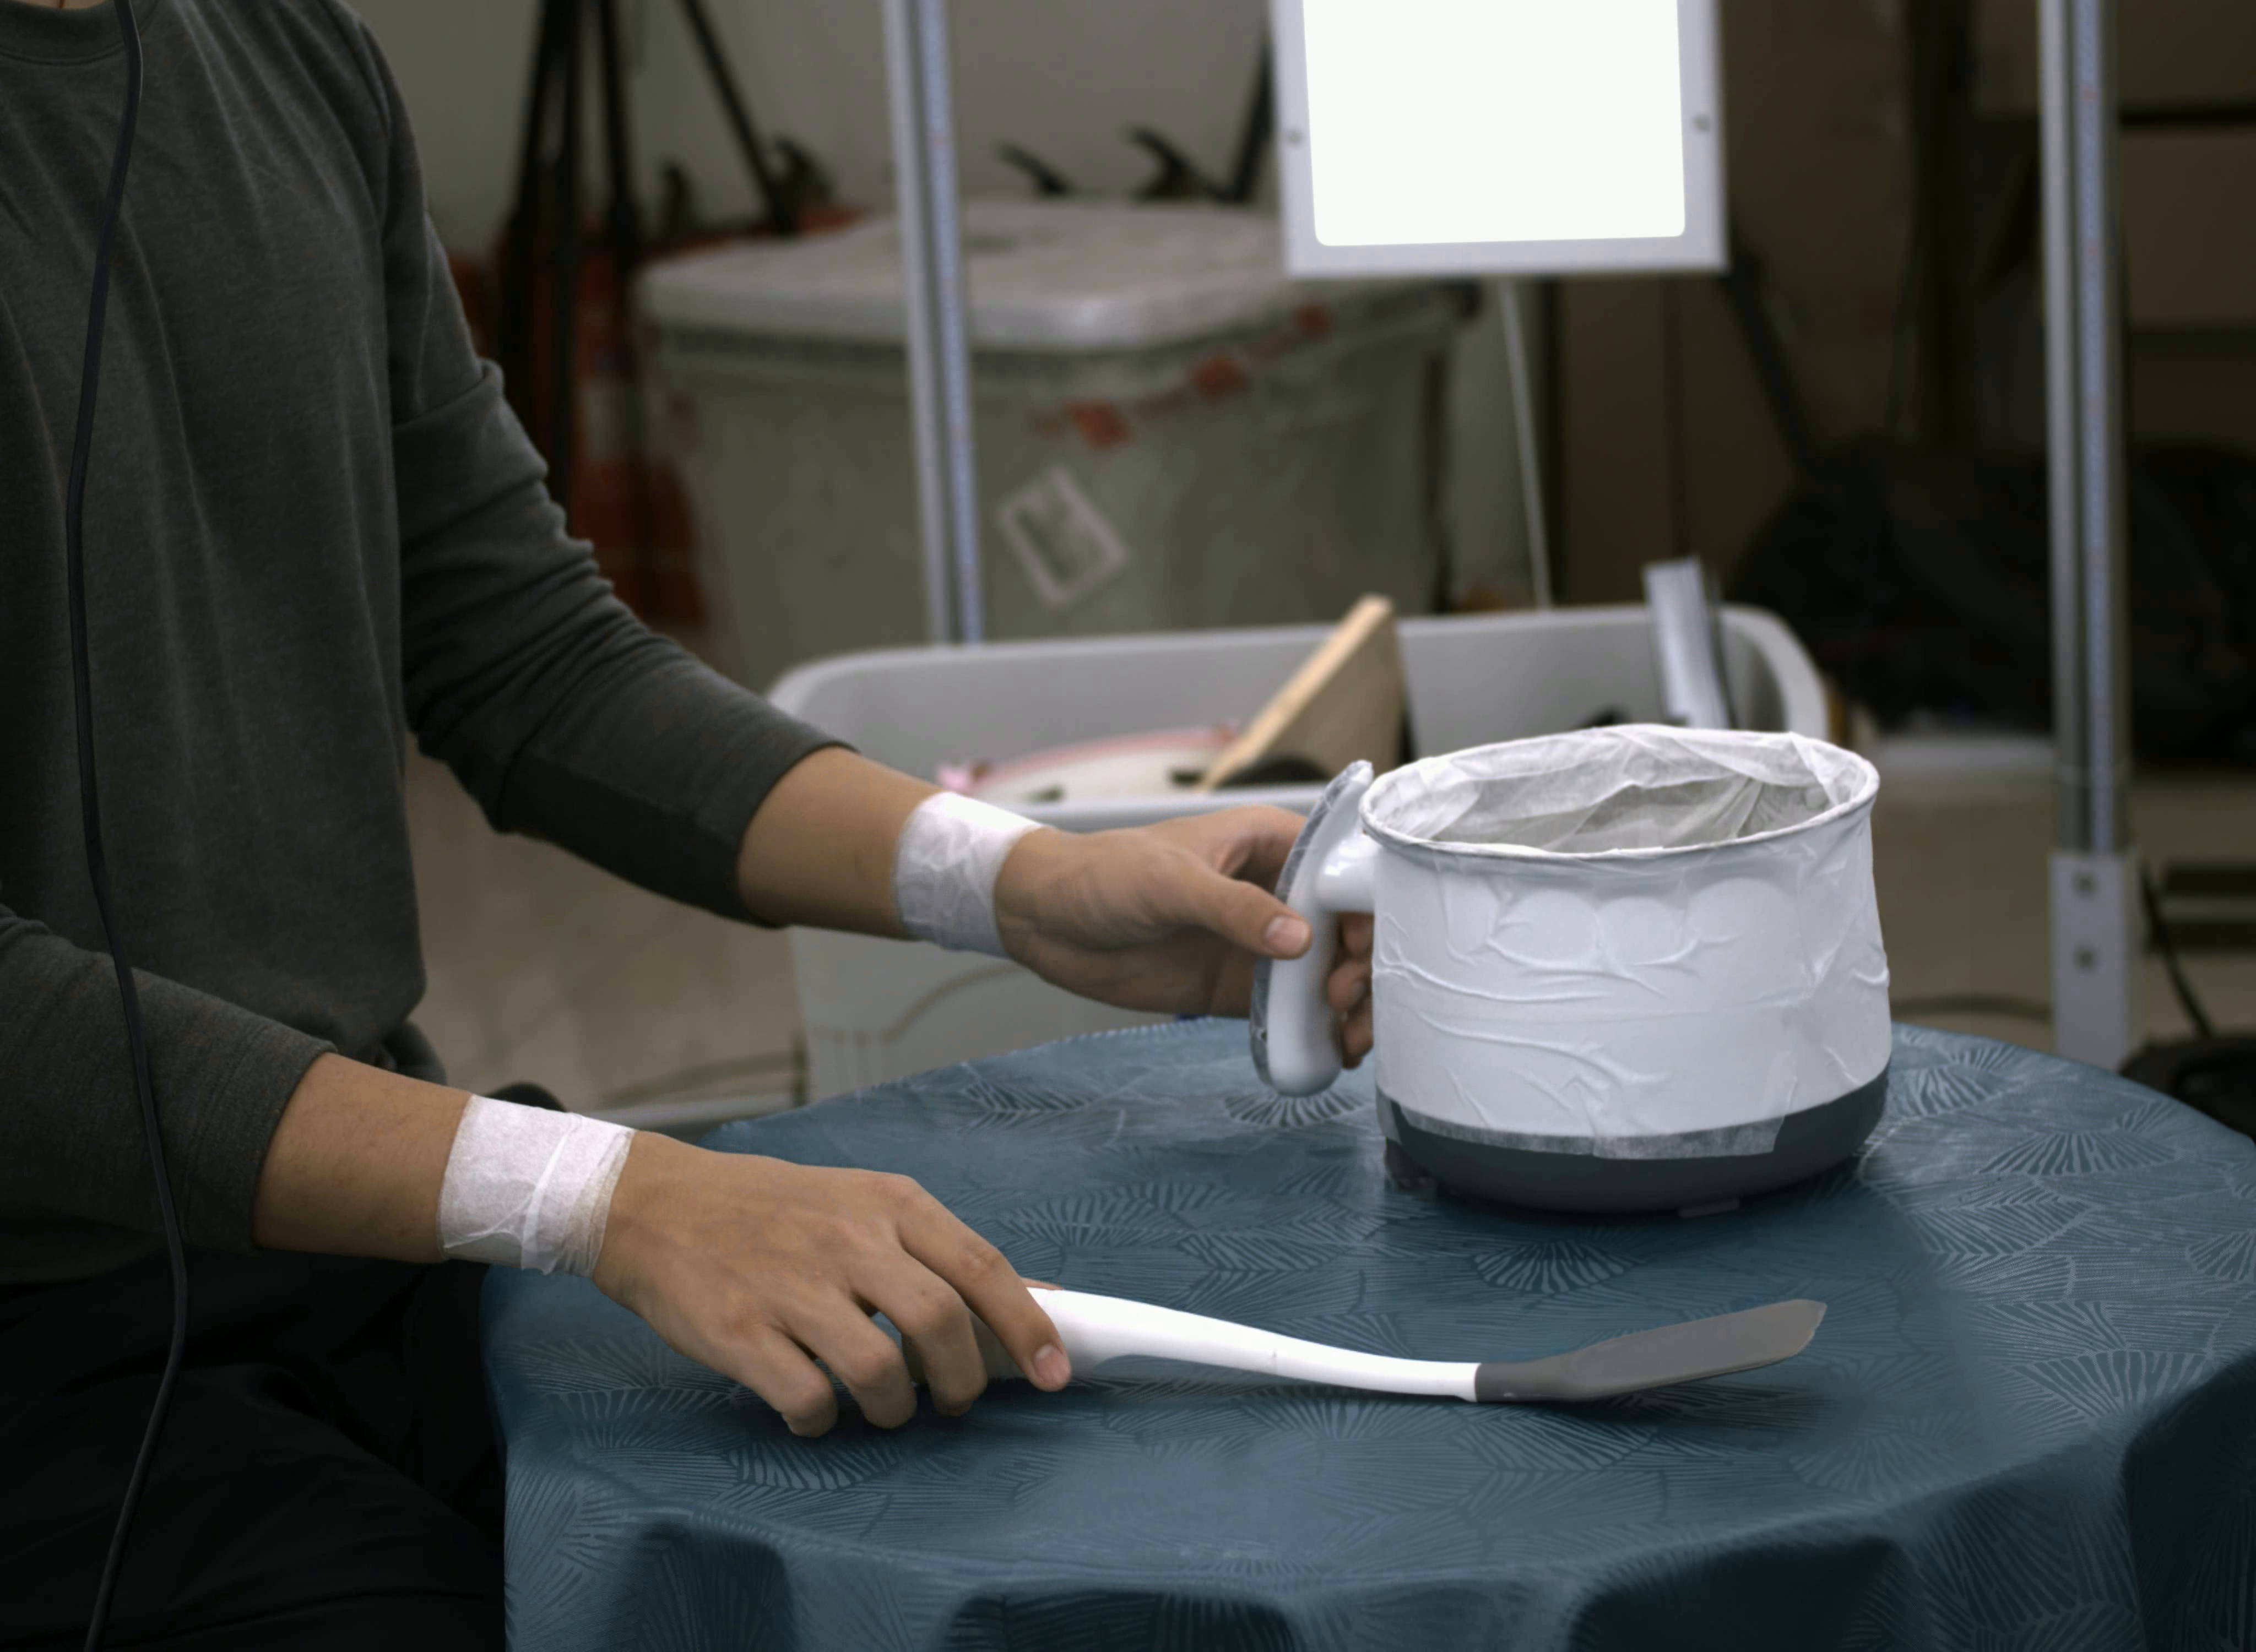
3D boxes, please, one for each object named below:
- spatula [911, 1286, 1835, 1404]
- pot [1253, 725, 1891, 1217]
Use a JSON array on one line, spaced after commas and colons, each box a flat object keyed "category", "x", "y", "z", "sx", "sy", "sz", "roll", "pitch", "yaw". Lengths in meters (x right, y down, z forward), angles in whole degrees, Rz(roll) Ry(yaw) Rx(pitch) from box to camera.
[{"category": "spatula", "x": 0.073, "y": 0.159, "z": 1.676, "sx": 0.291, "sy": 0.032, "sz": 0.057, "roll": -1, "pitch": 12, "yaw": 21}, {"category": "pot", "x": 0.147, "y": 0.047, "z": 1.886, "sx": 0.238, "sy": 0.137, "sz": 0.174, "roll": 3, "pitch": 16, "yaw": 30}]
